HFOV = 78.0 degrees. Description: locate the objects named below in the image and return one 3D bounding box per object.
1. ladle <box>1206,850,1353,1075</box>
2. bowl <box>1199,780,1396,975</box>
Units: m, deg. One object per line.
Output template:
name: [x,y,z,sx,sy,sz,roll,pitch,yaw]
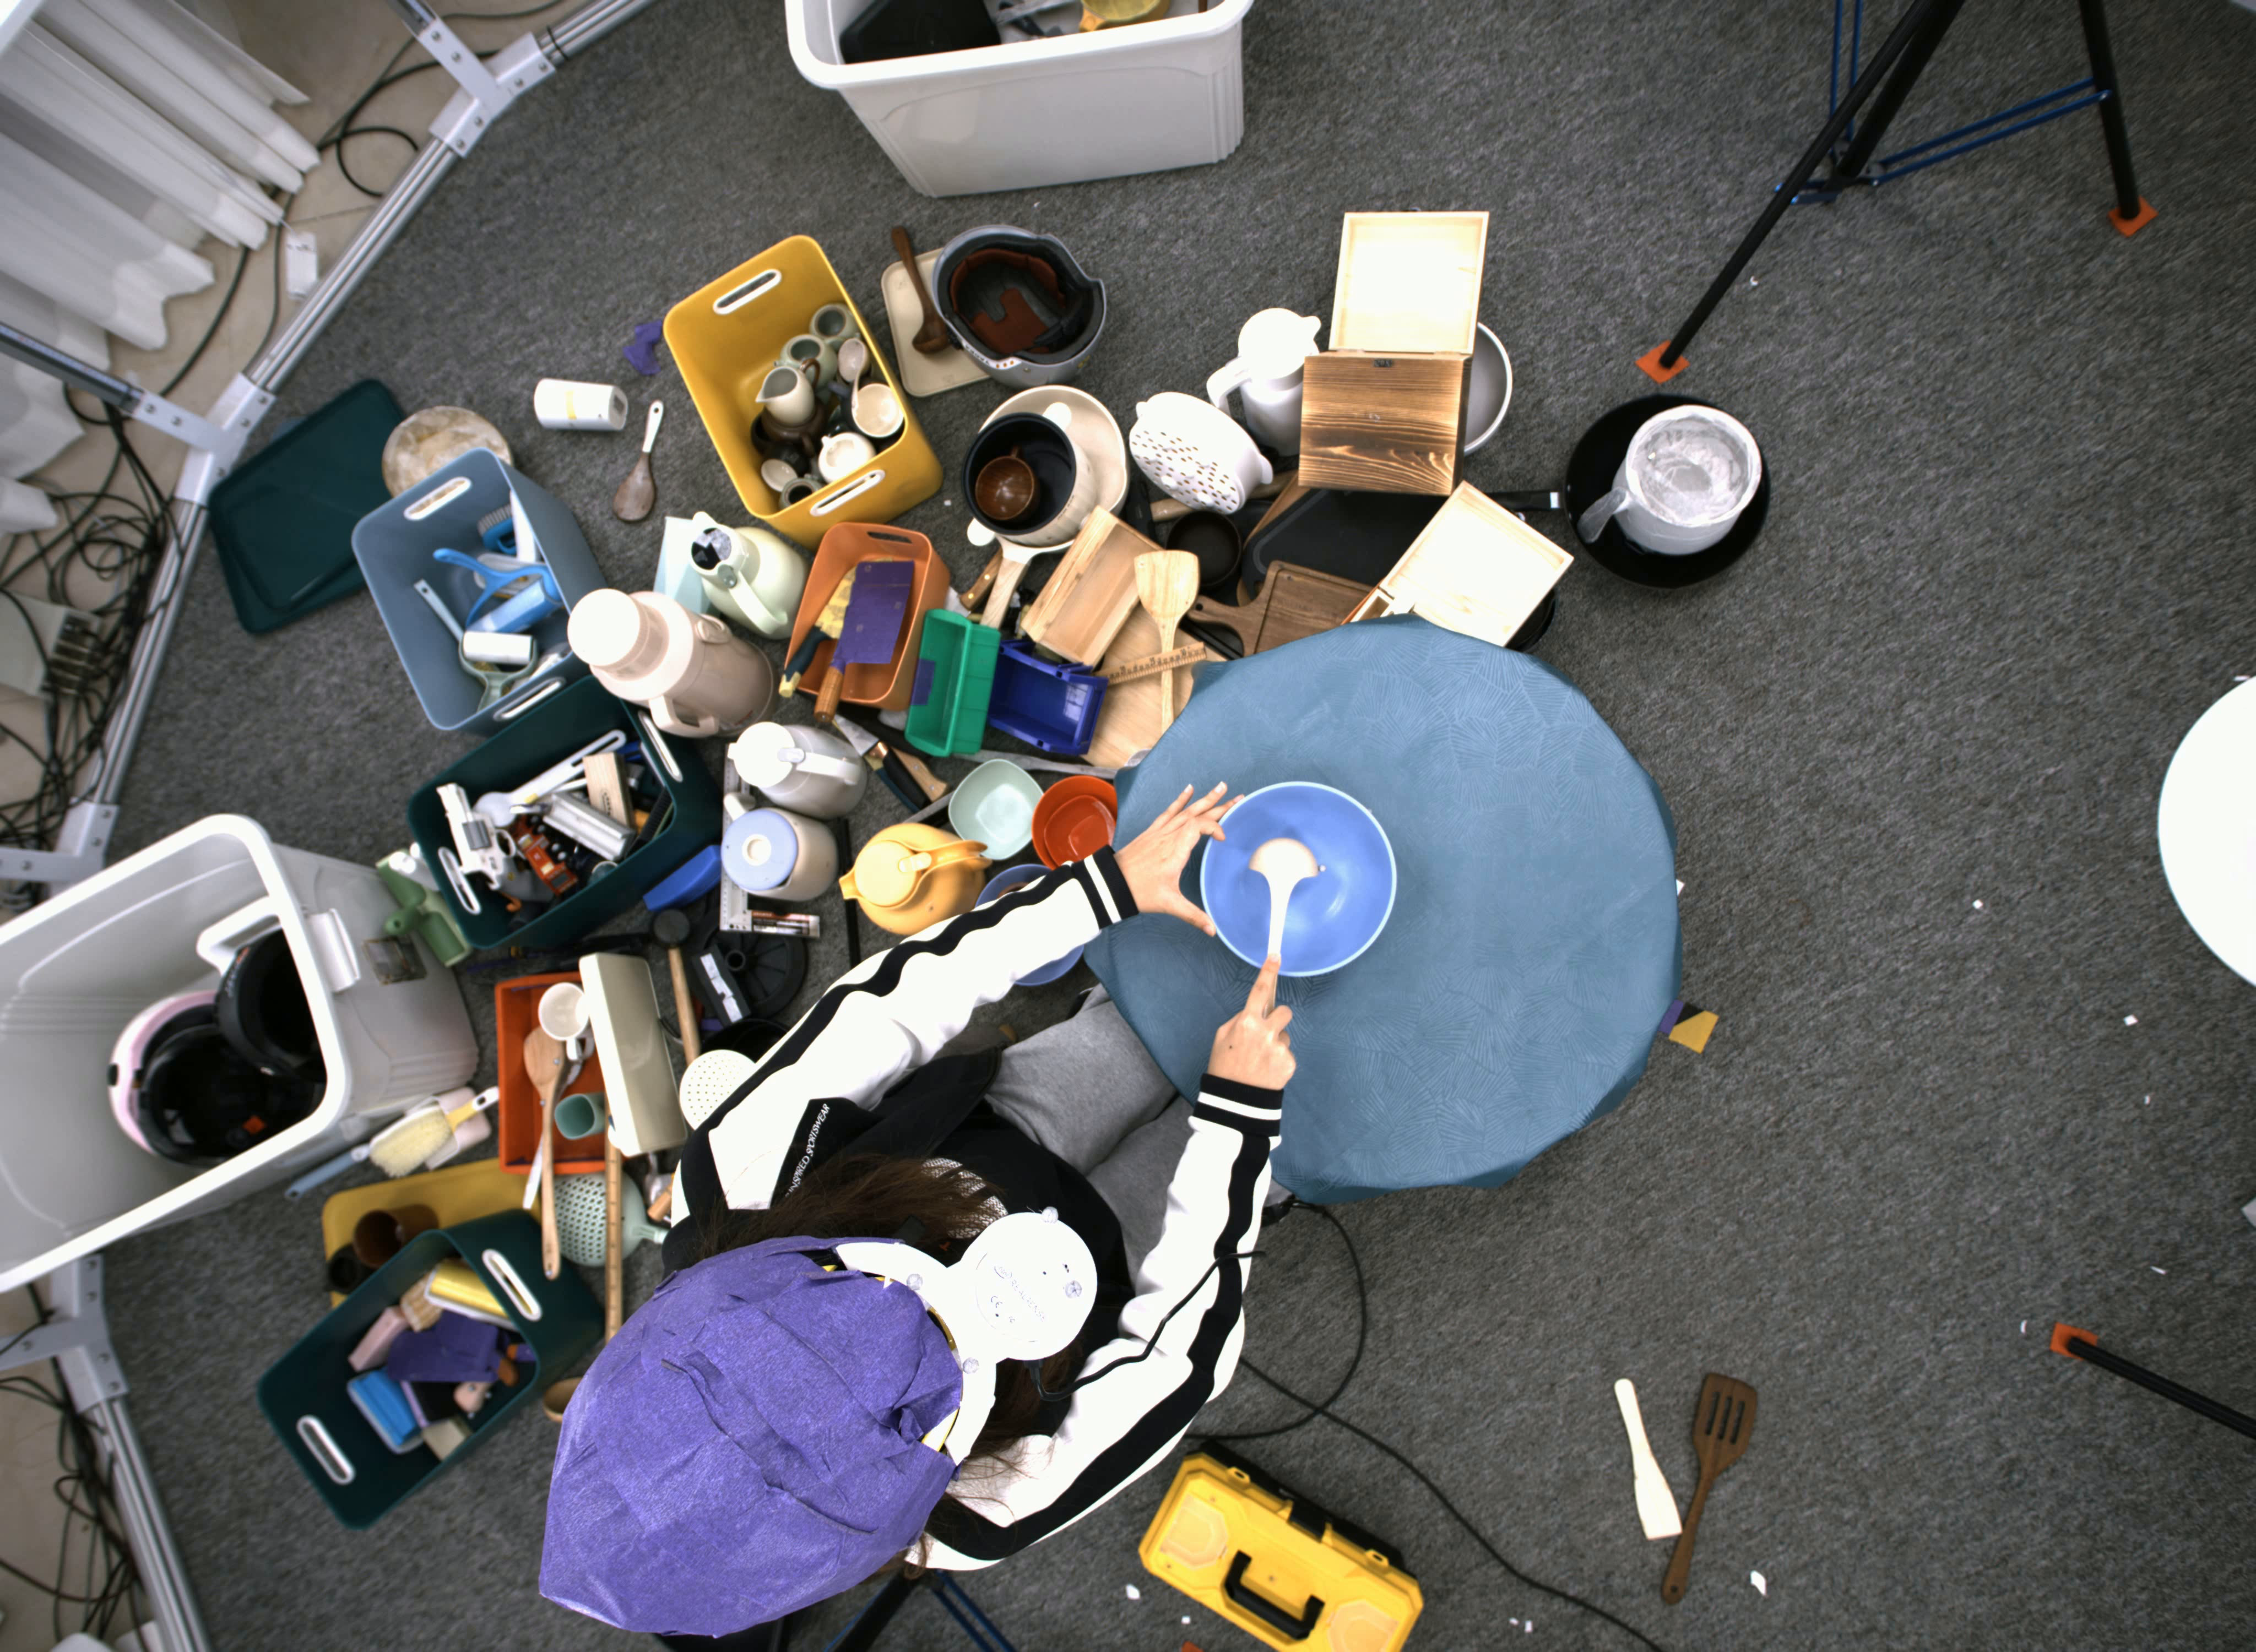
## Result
ladle: [0.154,0.143,1.389,0.073,0.072,0.251,31,76,-32]
bowl: [0.176,0.057,1.429,0.197,0.096,0.195,-1,84,9]
